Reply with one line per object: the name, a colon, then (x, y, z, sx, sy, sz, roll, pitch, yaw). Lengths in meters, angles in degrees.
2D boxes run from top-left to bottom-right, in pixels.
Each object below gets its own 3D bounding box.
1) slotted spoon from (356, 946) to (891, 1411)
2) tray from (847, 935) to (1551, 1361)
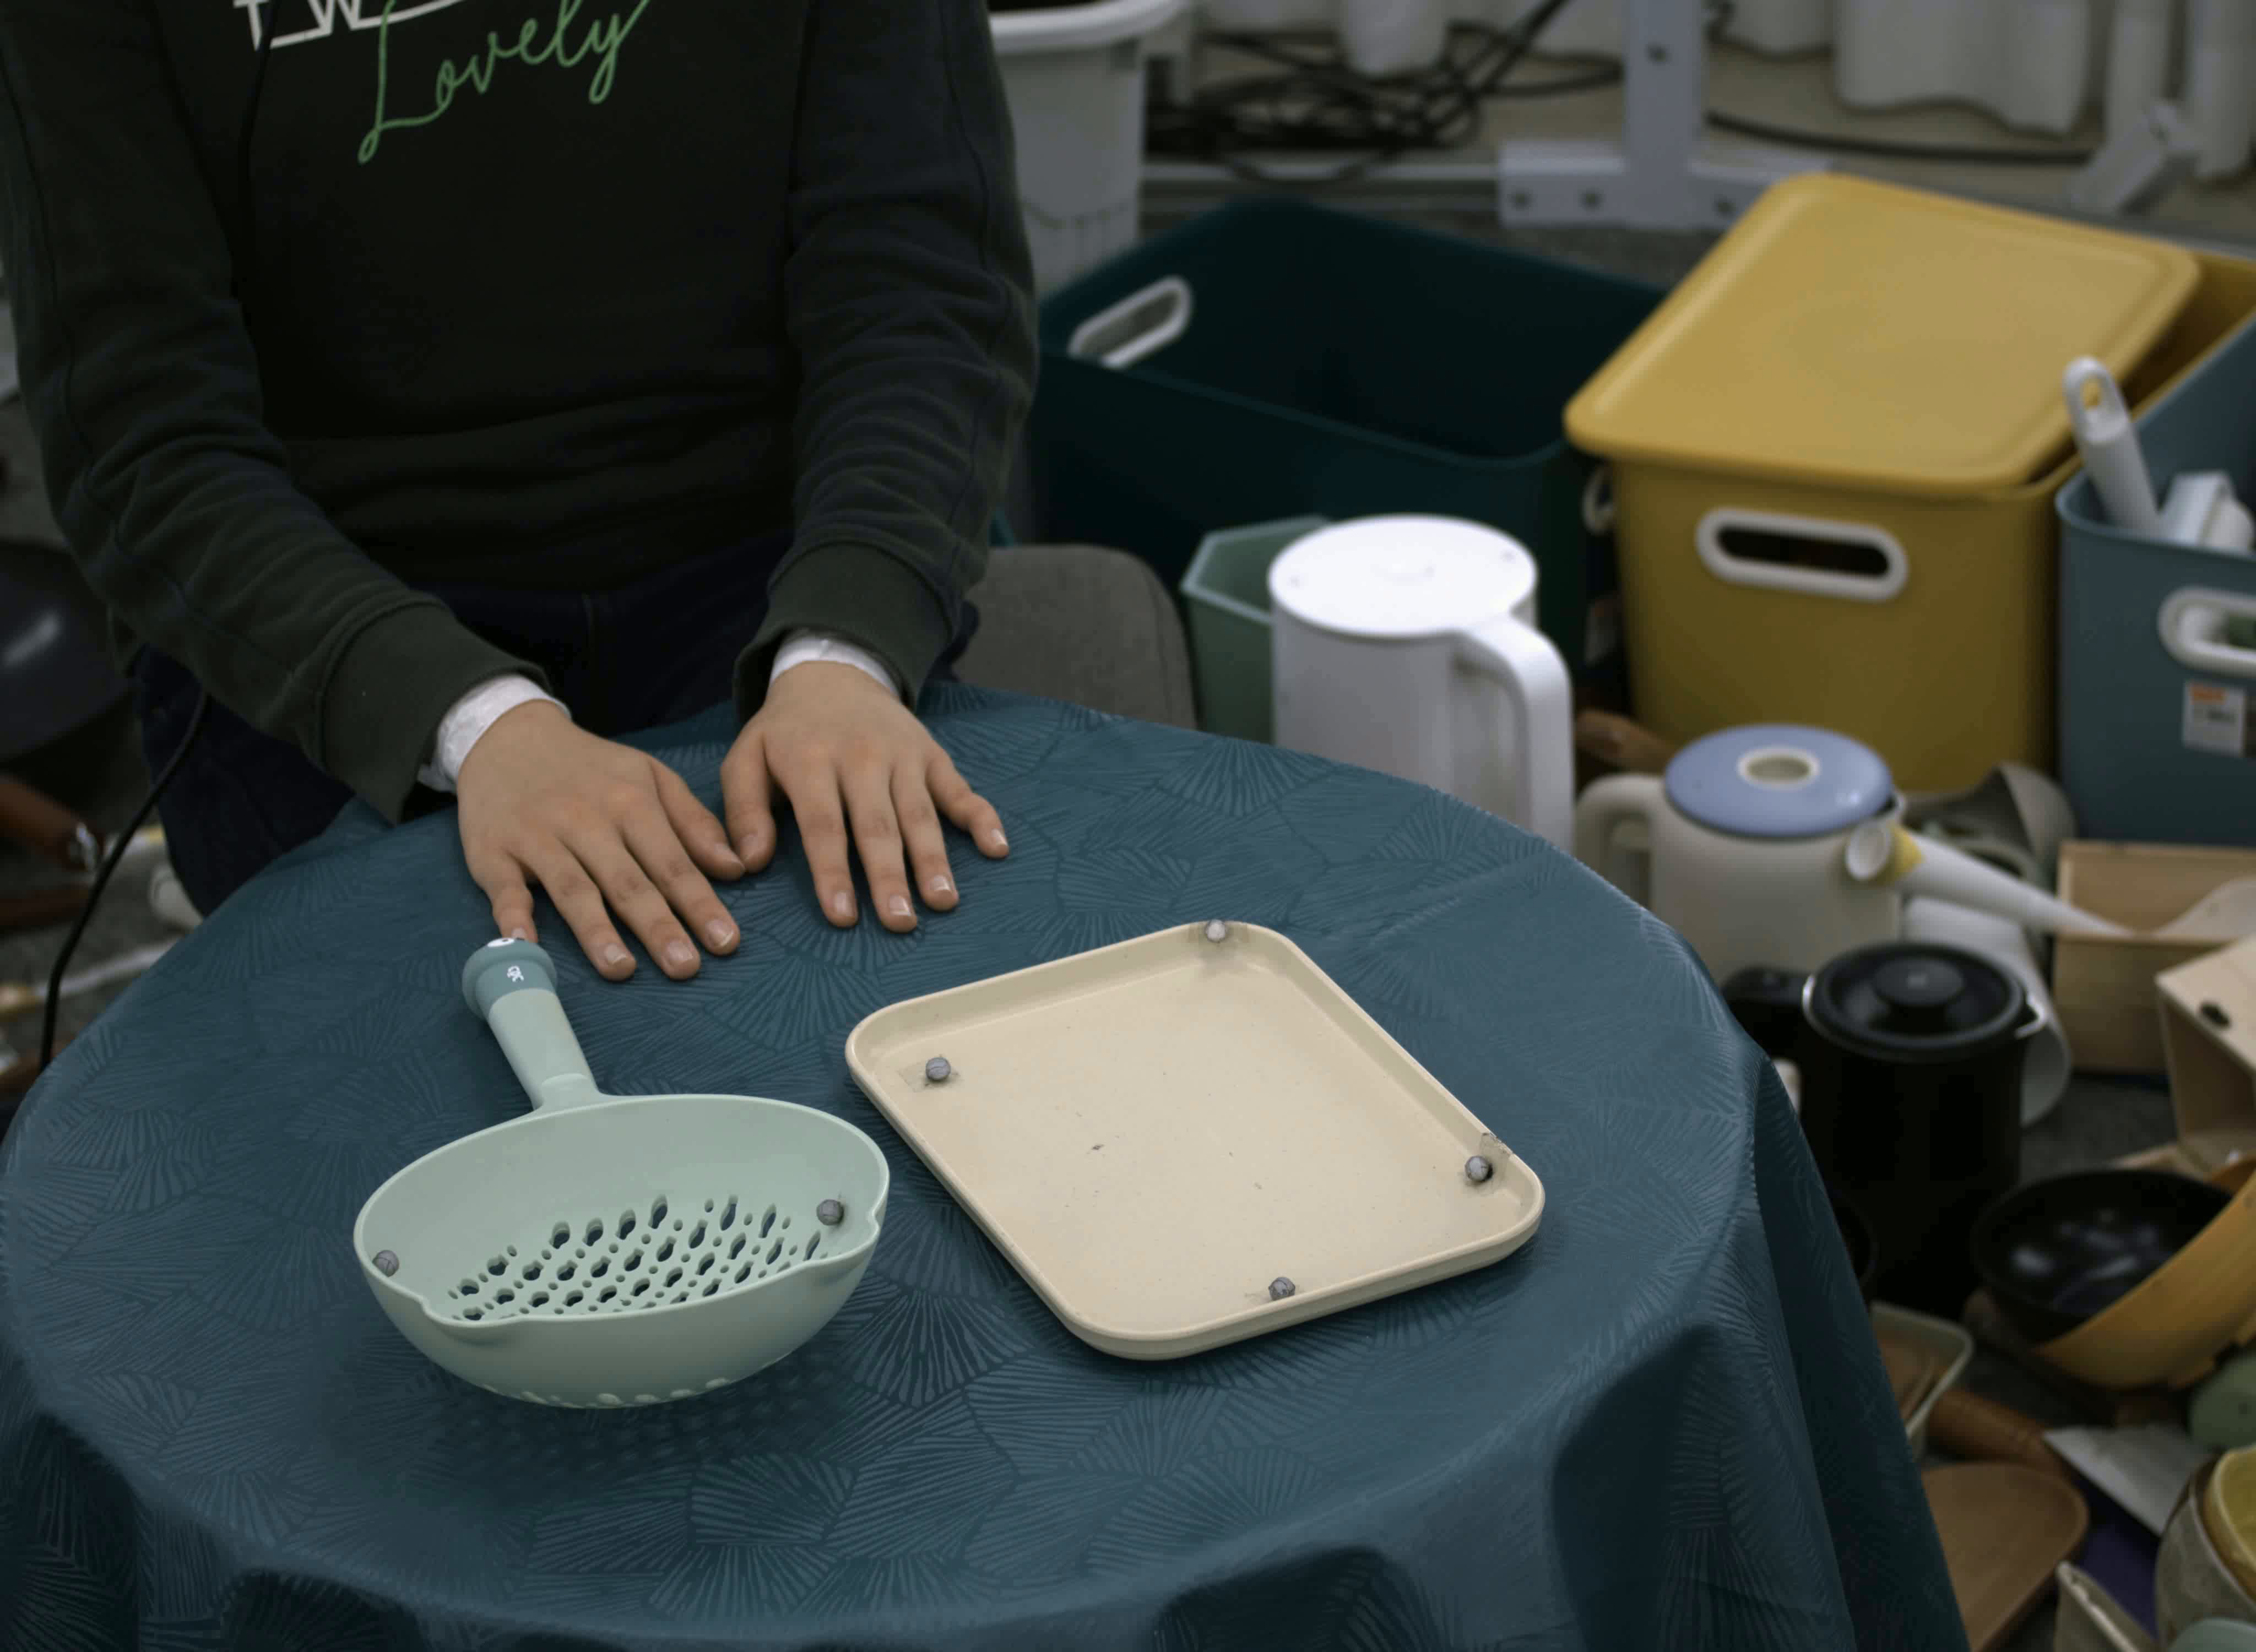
slotted spoon: (-0.181, 0.100, 1.853, 0.169, 0.074, 0.362, -9, 27, -12)
tray: (0.020, 0.106, 1.873, 0.172, 0.017, 0.241, -14, 28, -21)
